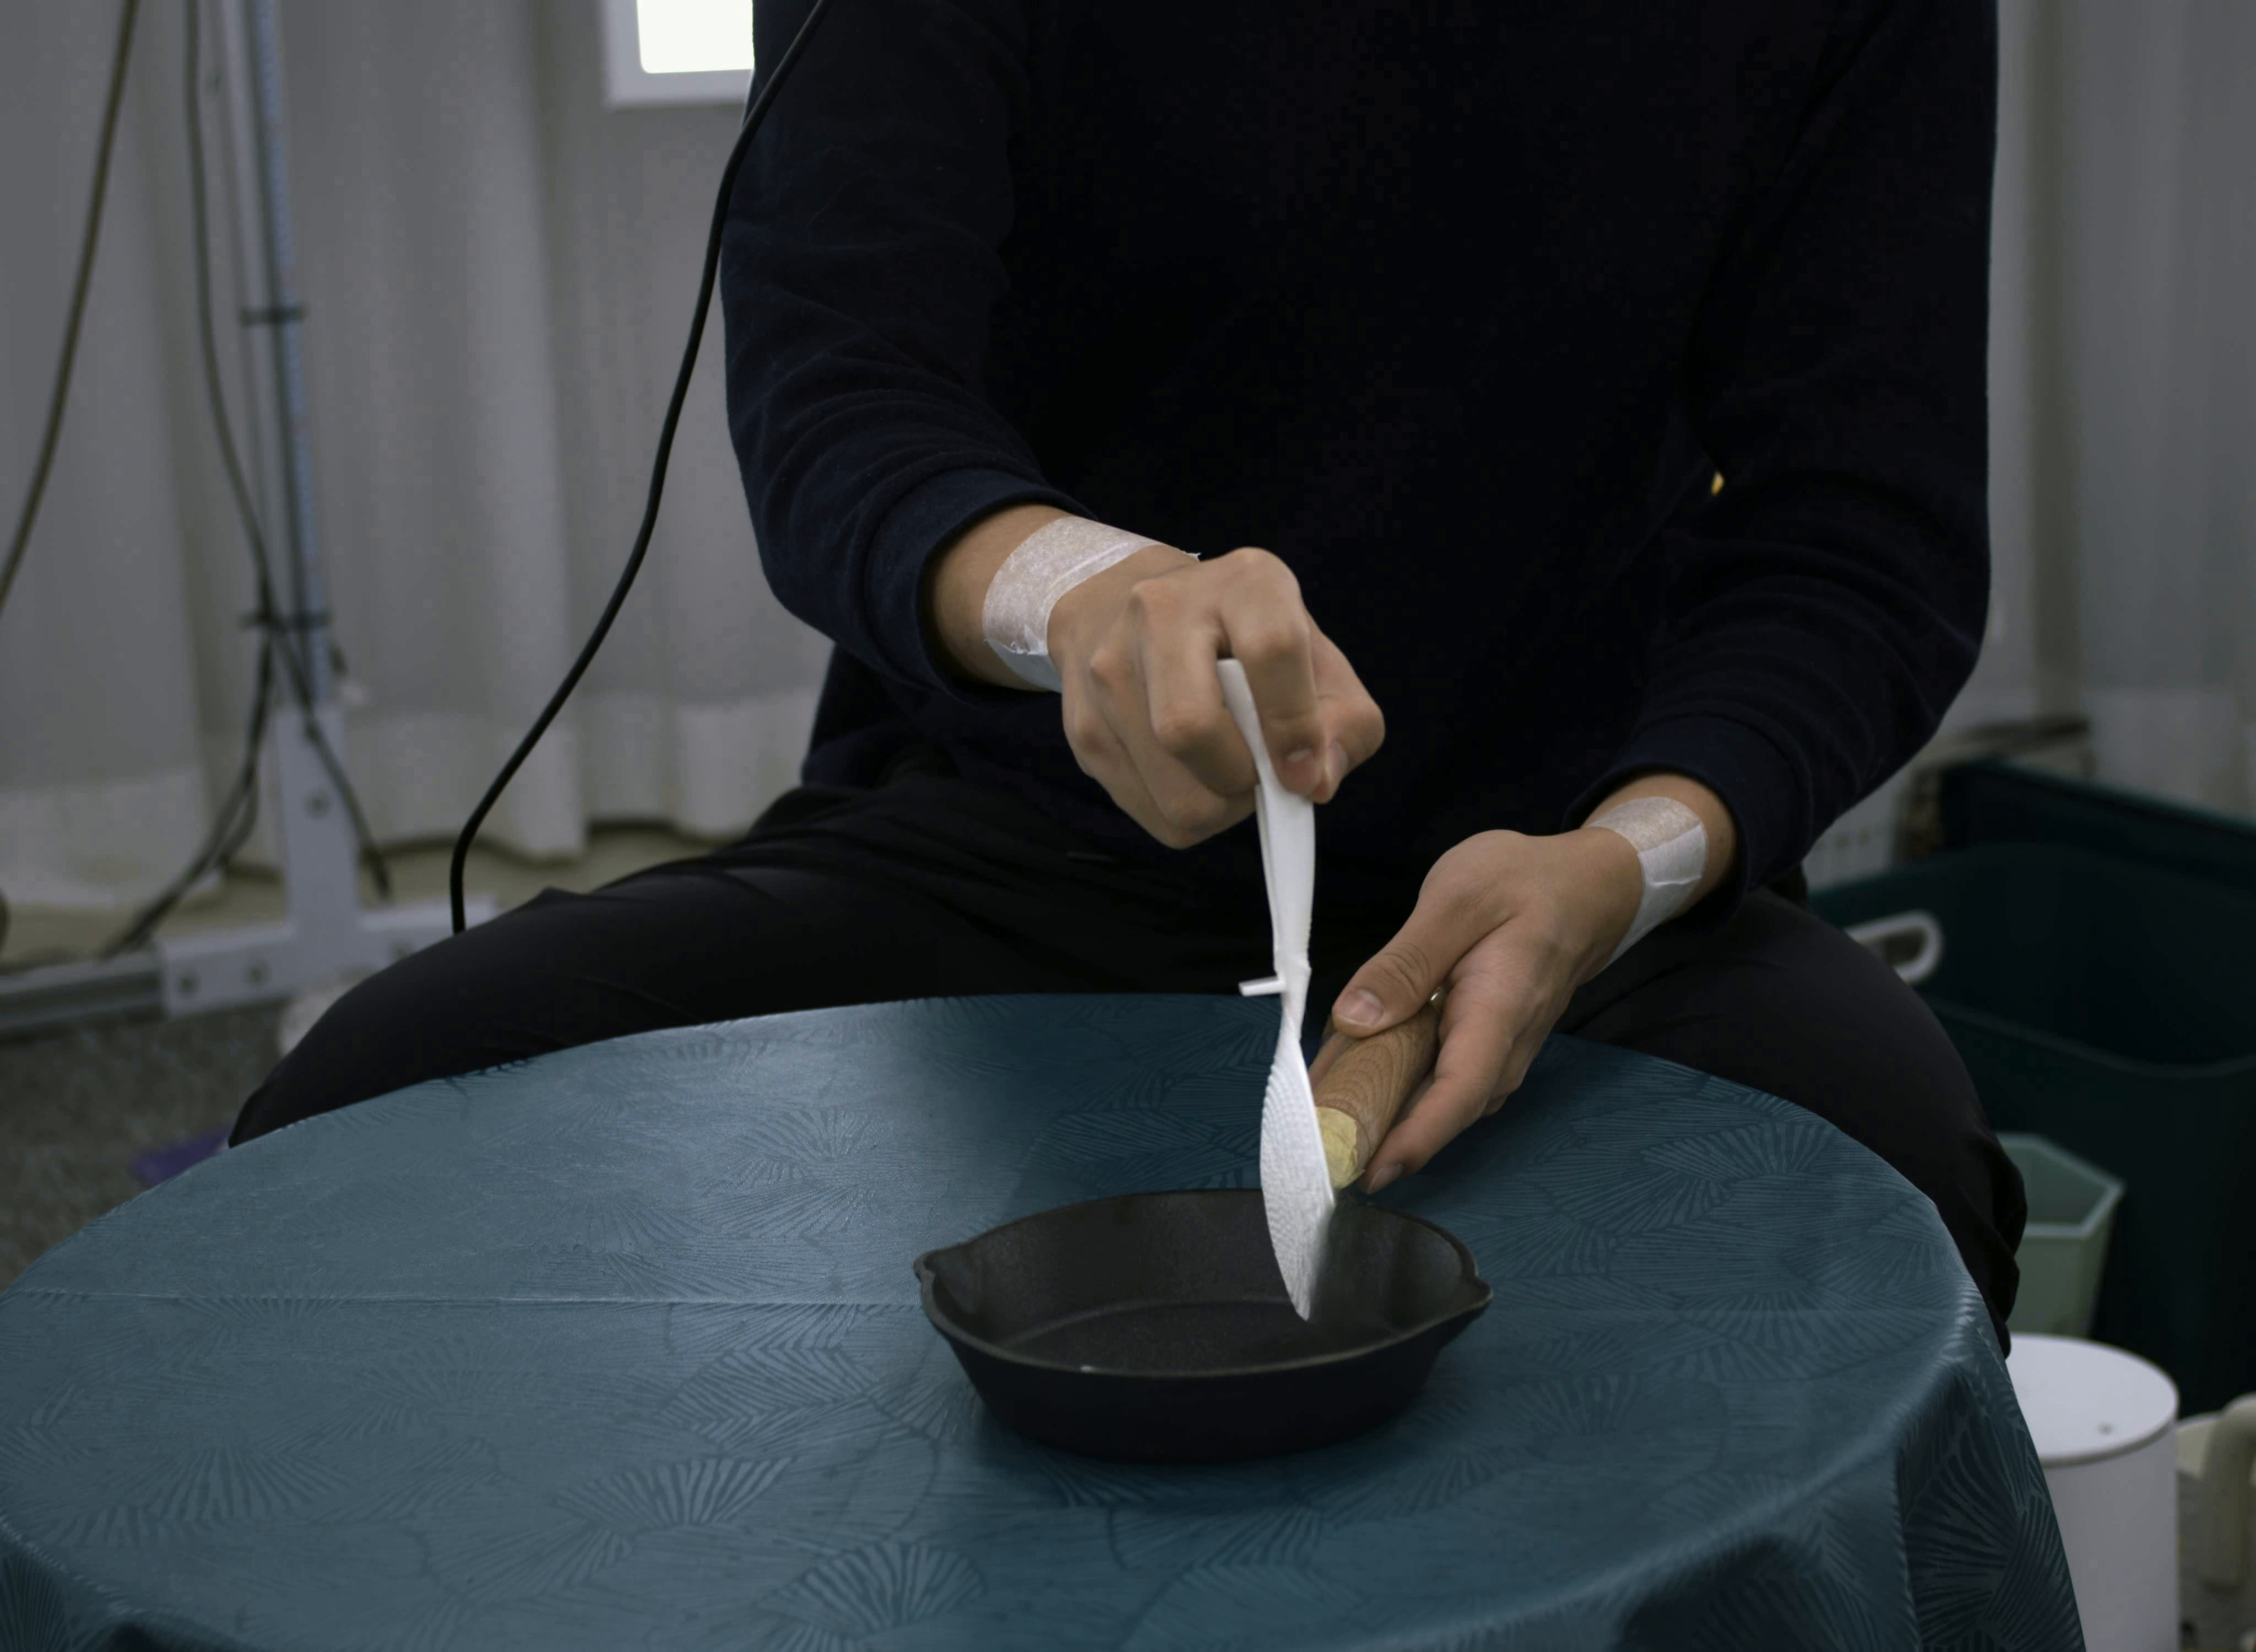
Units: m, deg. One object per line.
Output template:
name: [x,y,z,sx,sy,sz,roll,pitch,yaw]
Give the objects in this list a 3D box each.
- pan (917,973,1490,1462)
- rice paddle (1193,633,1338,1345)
pan: [0.049,0.112,1.618,0.169,0.049,0.325,2,17,20]
rice paddle: [0.046,0.049,1.545,0.029,0.205,0.069,-8,5,-4]
